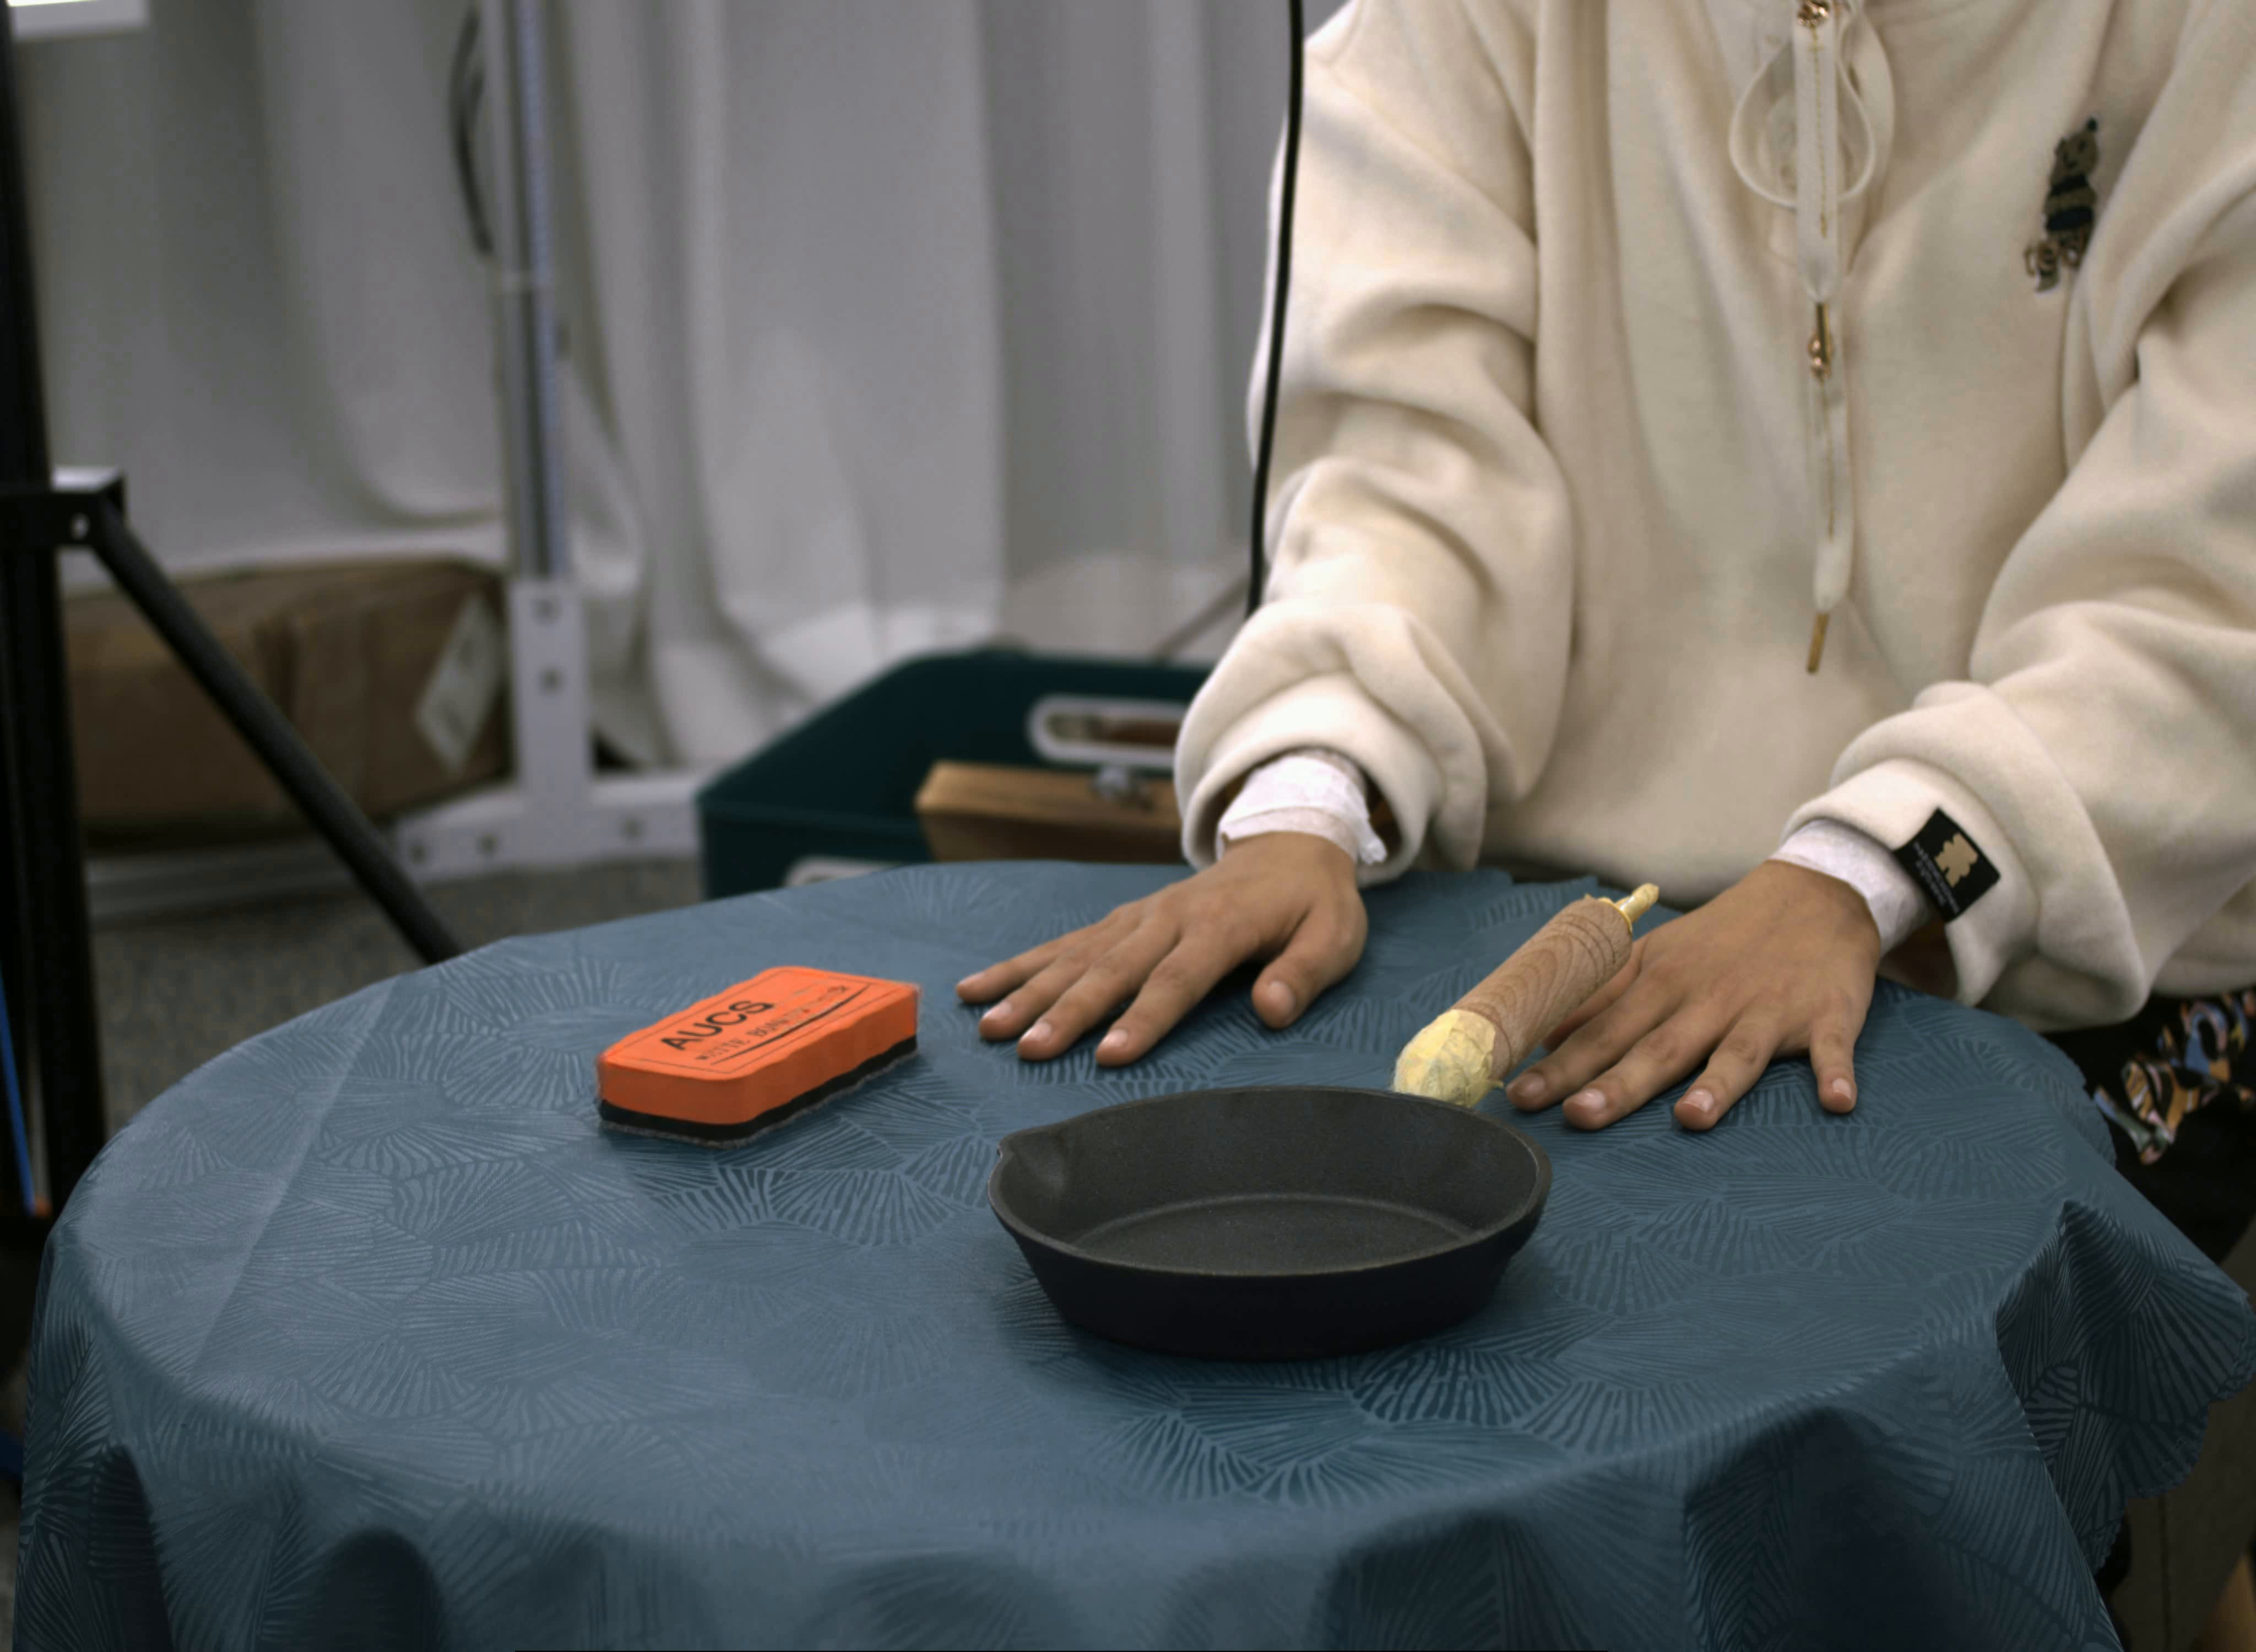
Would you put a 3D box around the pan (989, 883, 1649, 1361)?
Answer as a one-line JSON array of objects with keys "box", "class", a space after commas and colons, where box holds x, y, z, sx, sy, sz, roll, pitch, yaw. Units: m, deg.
[{"box": [0.082, 0.082, 1.541, 0.172, 0.049, 0.318, 6, 19, 30], "class": "pan"}]

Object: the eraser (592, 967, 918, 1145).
[{"box": [-0.115, 0.071, 1.664, 0.060, 0.023, 0.106, 8, 19, 32], "class": "eraser"}]
